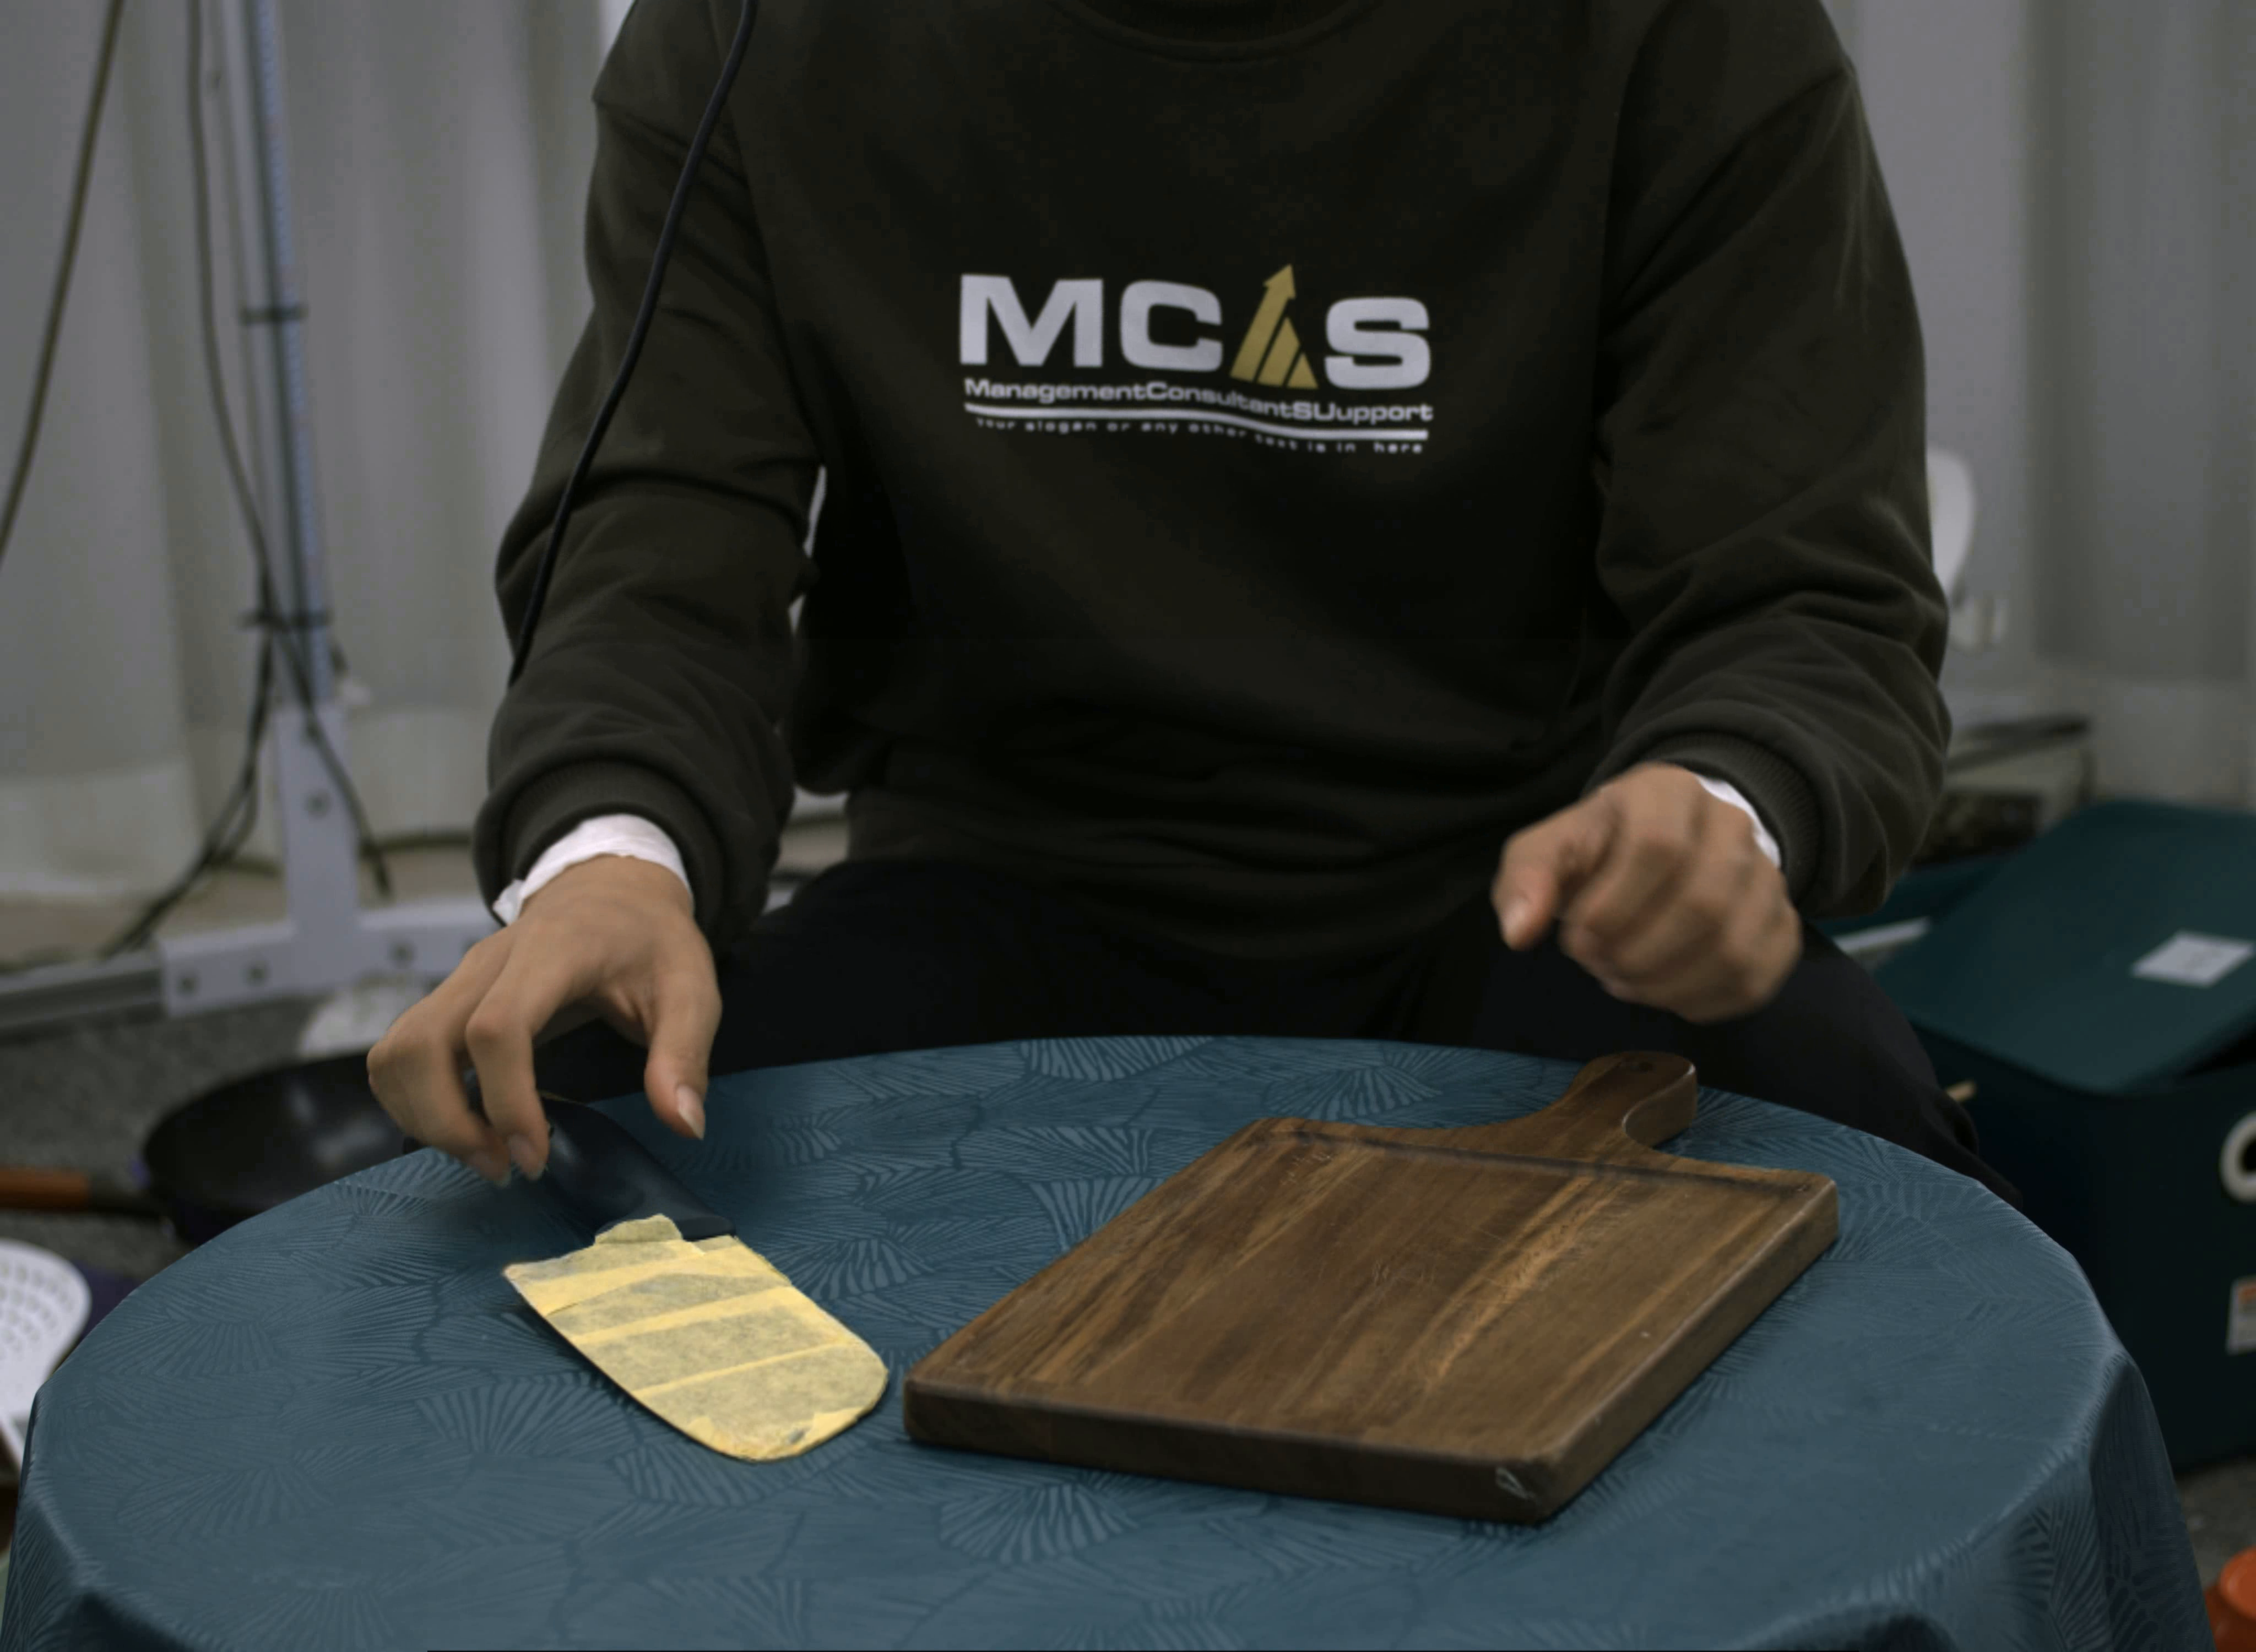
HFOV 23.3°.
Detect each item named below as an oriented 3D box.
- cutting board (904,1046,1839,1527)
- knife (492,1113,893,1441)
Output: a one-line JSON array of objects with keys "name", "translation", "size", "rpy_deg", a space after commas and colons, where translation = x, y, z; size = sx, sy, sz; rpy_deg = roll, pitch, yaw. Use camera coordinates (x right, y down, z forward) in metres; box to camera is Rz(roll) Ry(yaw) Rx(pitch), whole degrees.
[{"name": "cutting board", "translation": [0.096, 0.125, 1.619], "size": [0.201, 0.023, 0.353], "rpy_deg": [5, 16, 25]}, {"name": "knife", "translation": [-0.146, 0.136, 1.638], "size": [0.080, 0.027, 0.292], "rpy_deg": [-7, 16, -23]}]
